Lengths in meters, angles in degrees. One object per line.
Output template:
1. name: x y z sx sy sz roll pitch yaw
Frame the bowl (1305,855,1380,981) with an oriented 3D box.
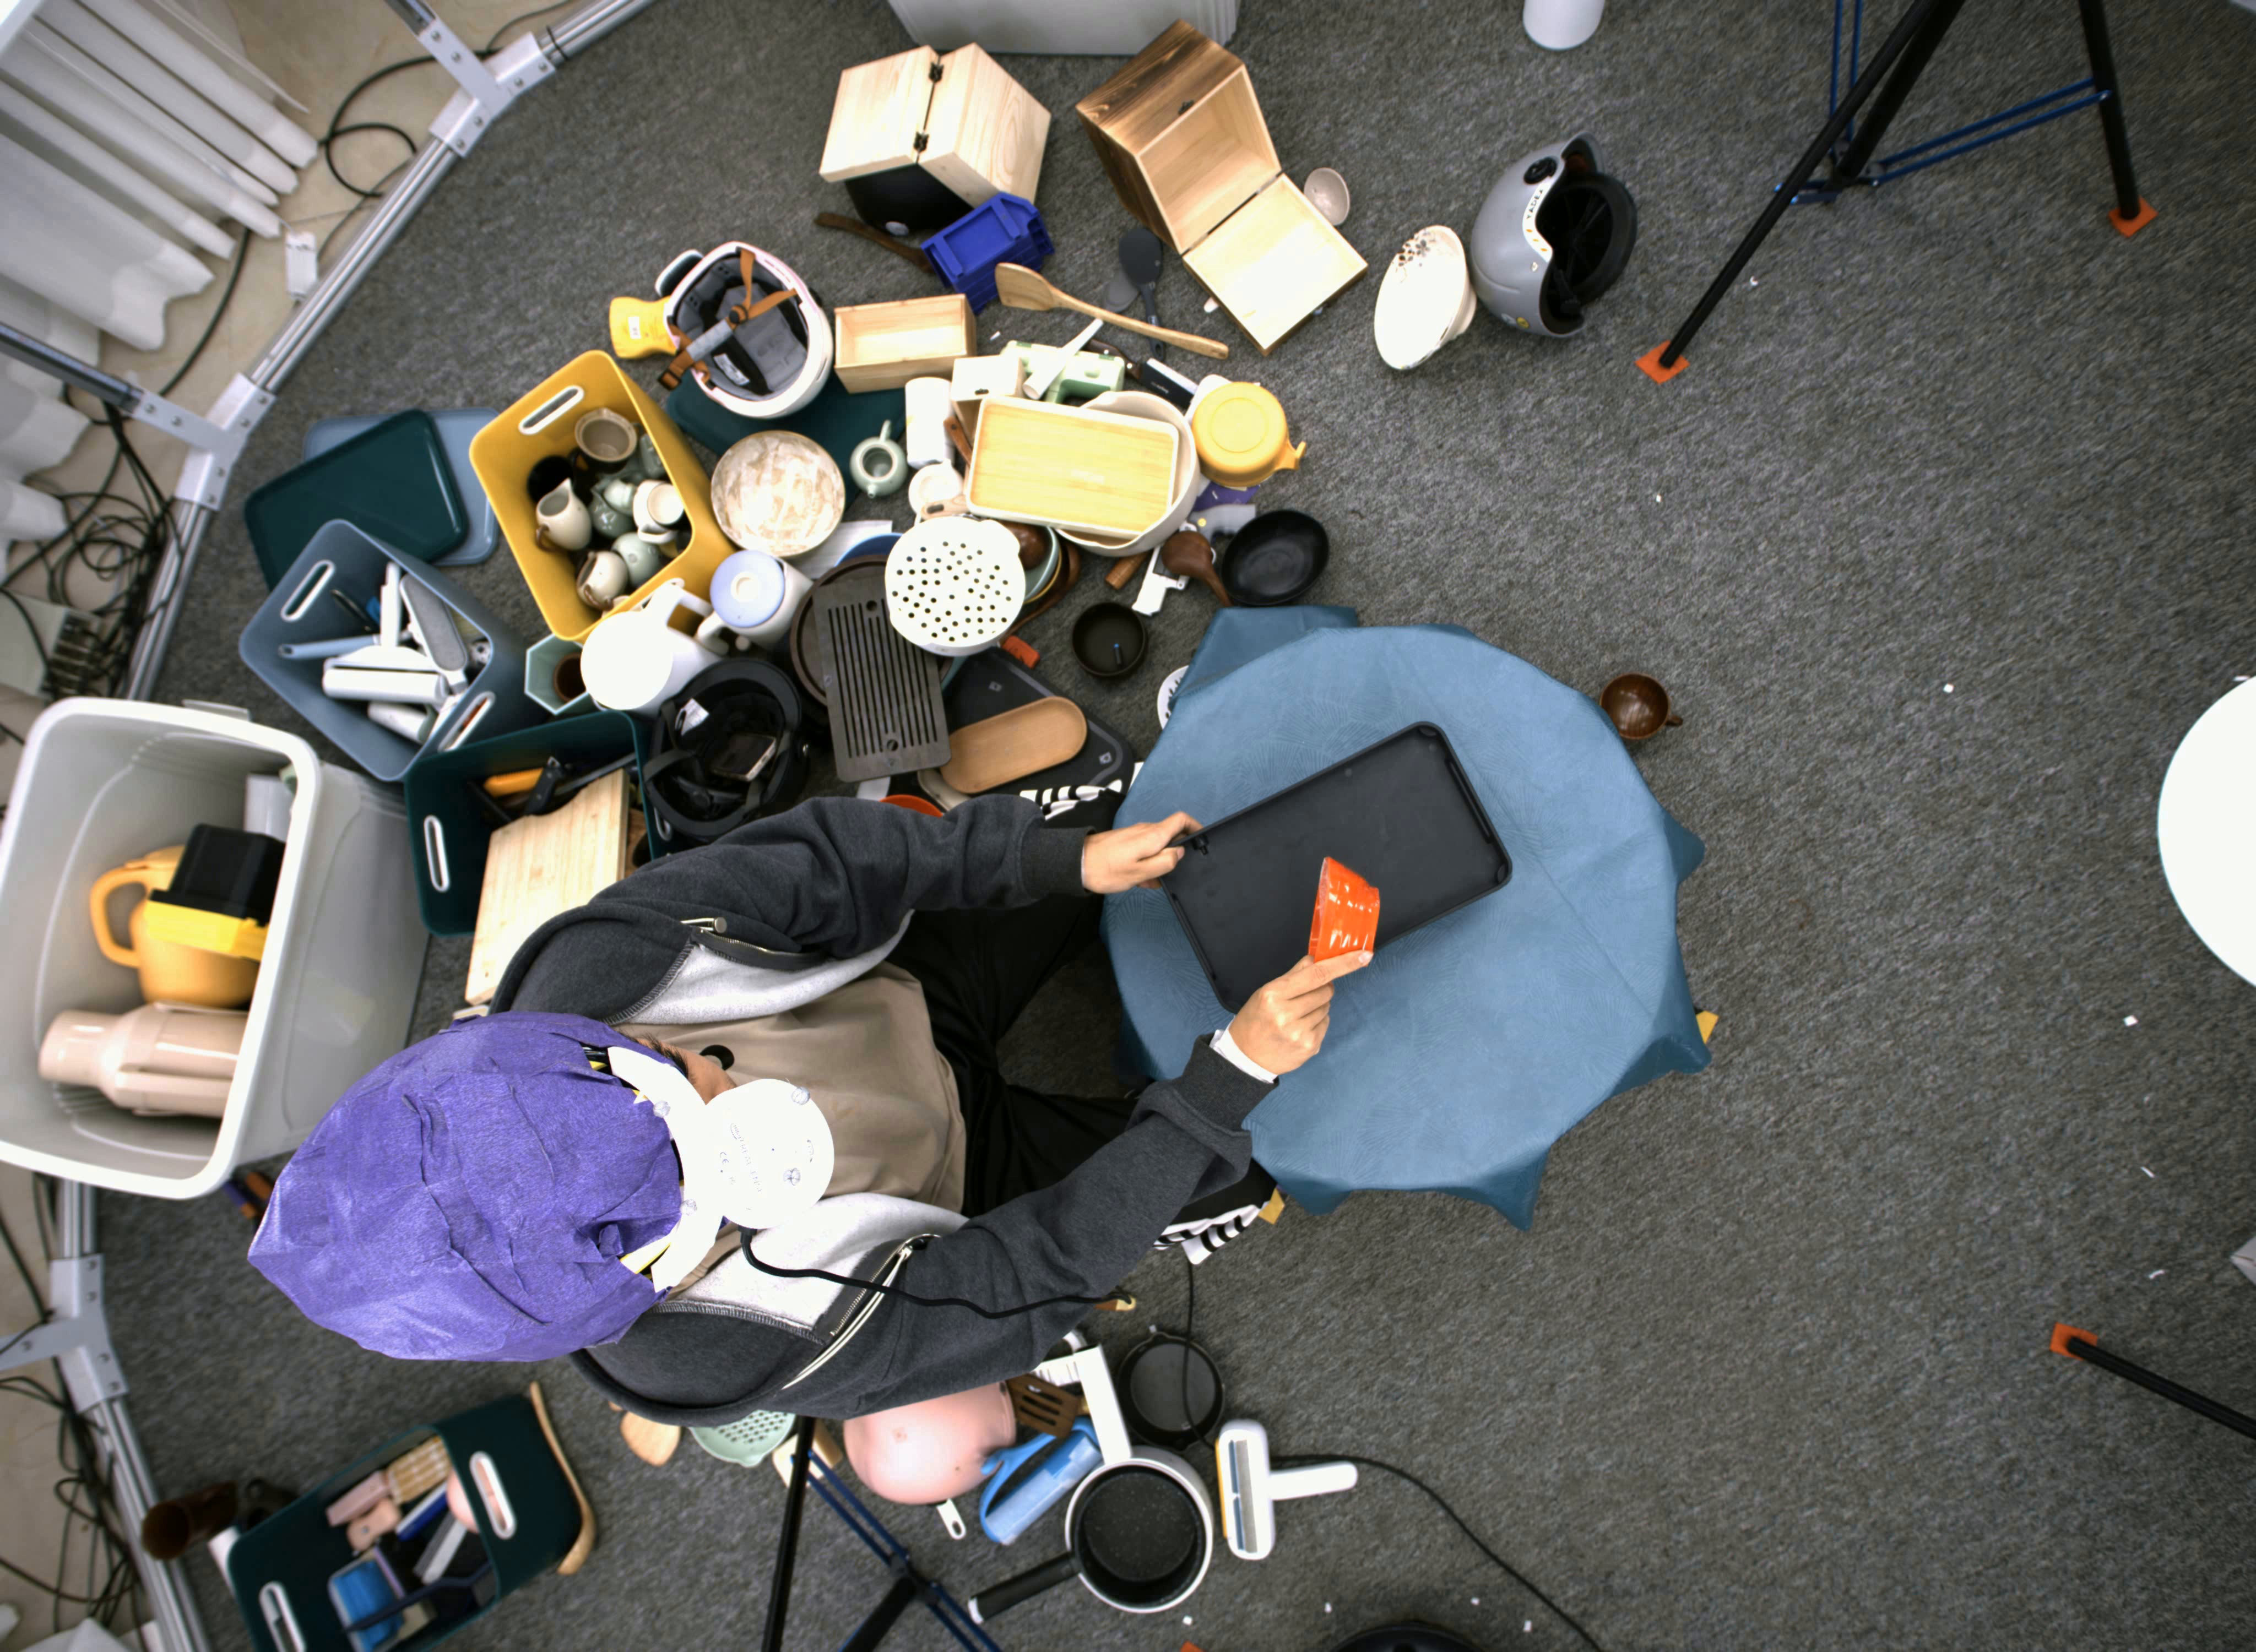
1. bowl: 0.194 0.086 1.247 0.051 0.119 0.118 10 87 2

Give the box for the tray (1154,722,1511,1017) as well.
1. tray: 0.201 0.042 1.368 0.318 0.037 0.183 -27 86 2
